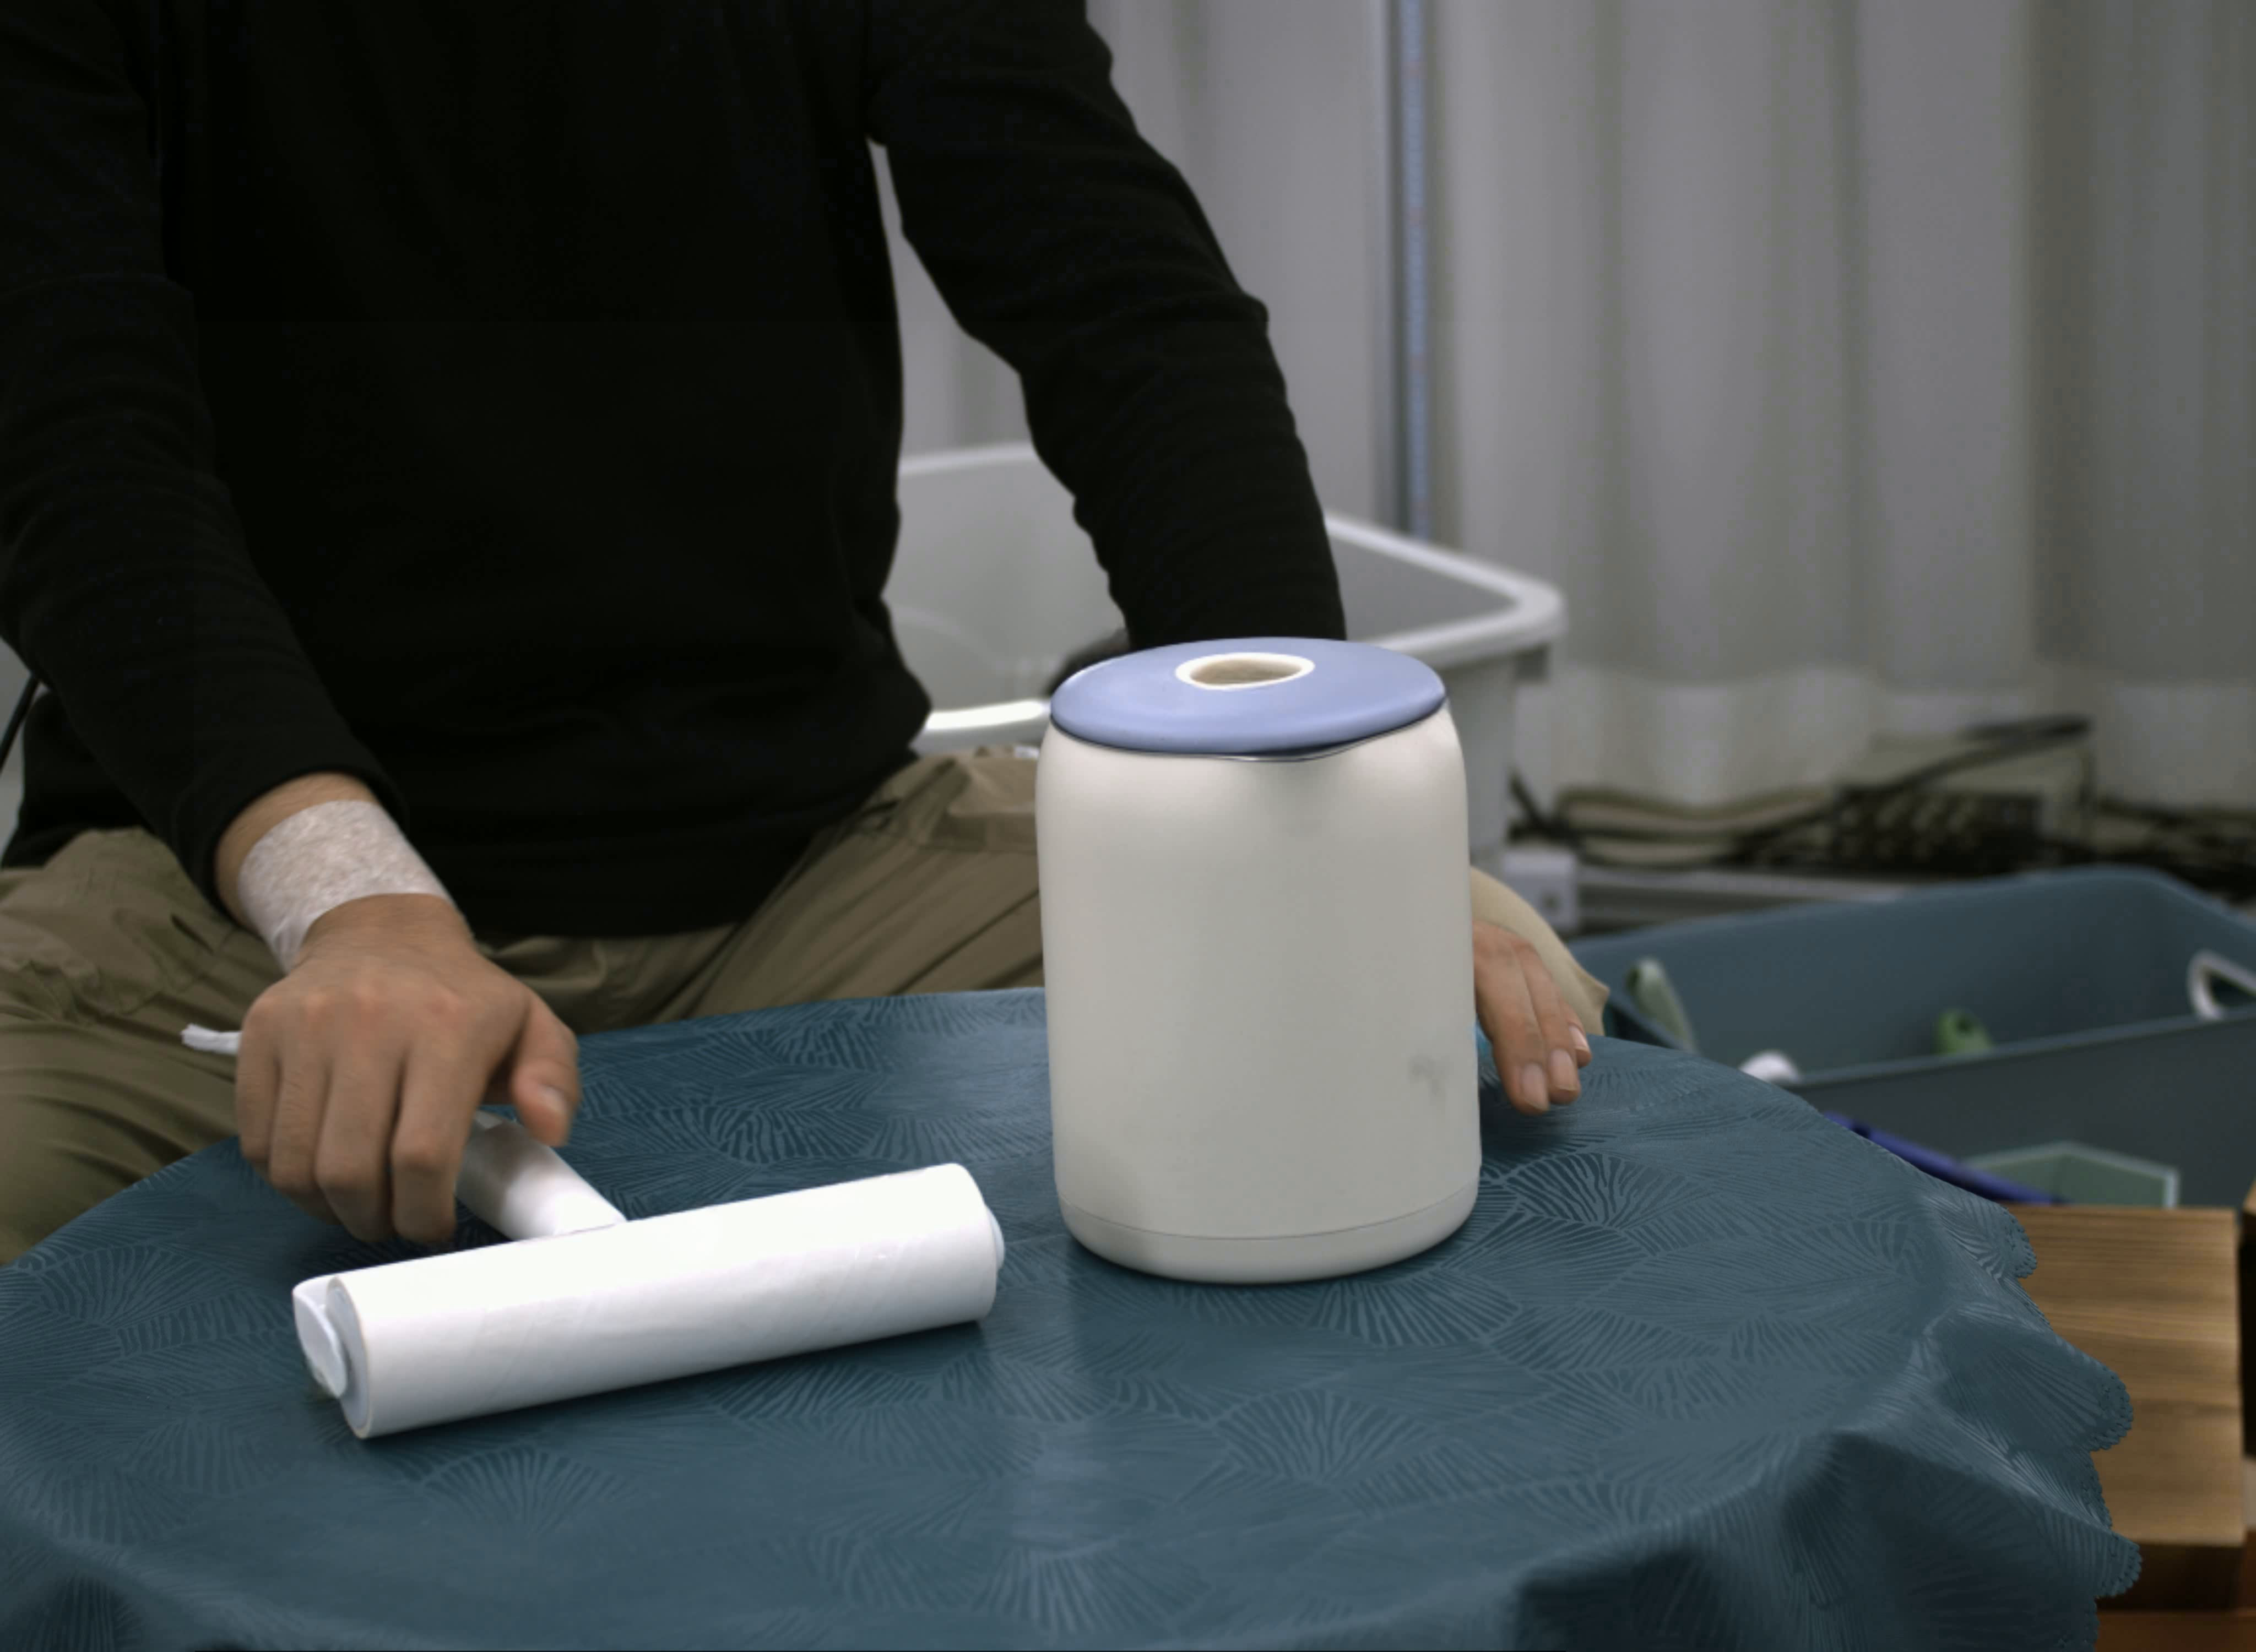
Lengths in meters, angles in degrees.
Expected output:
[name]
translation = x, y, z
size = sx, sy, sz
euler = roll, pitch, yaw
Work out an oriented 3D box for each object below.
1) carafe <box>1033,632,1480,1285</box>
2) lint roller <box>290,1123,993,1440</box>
[carafe]
translation = 0.033, 0.034, 1.682
size = 0.131, 0.182, 0.192
euler = -5, 12, -13
[lint roller]
translation = -0.171, 0.118, 1.653
size = 0.202, 0.048, 0.227
euler = -11, 16, -22
